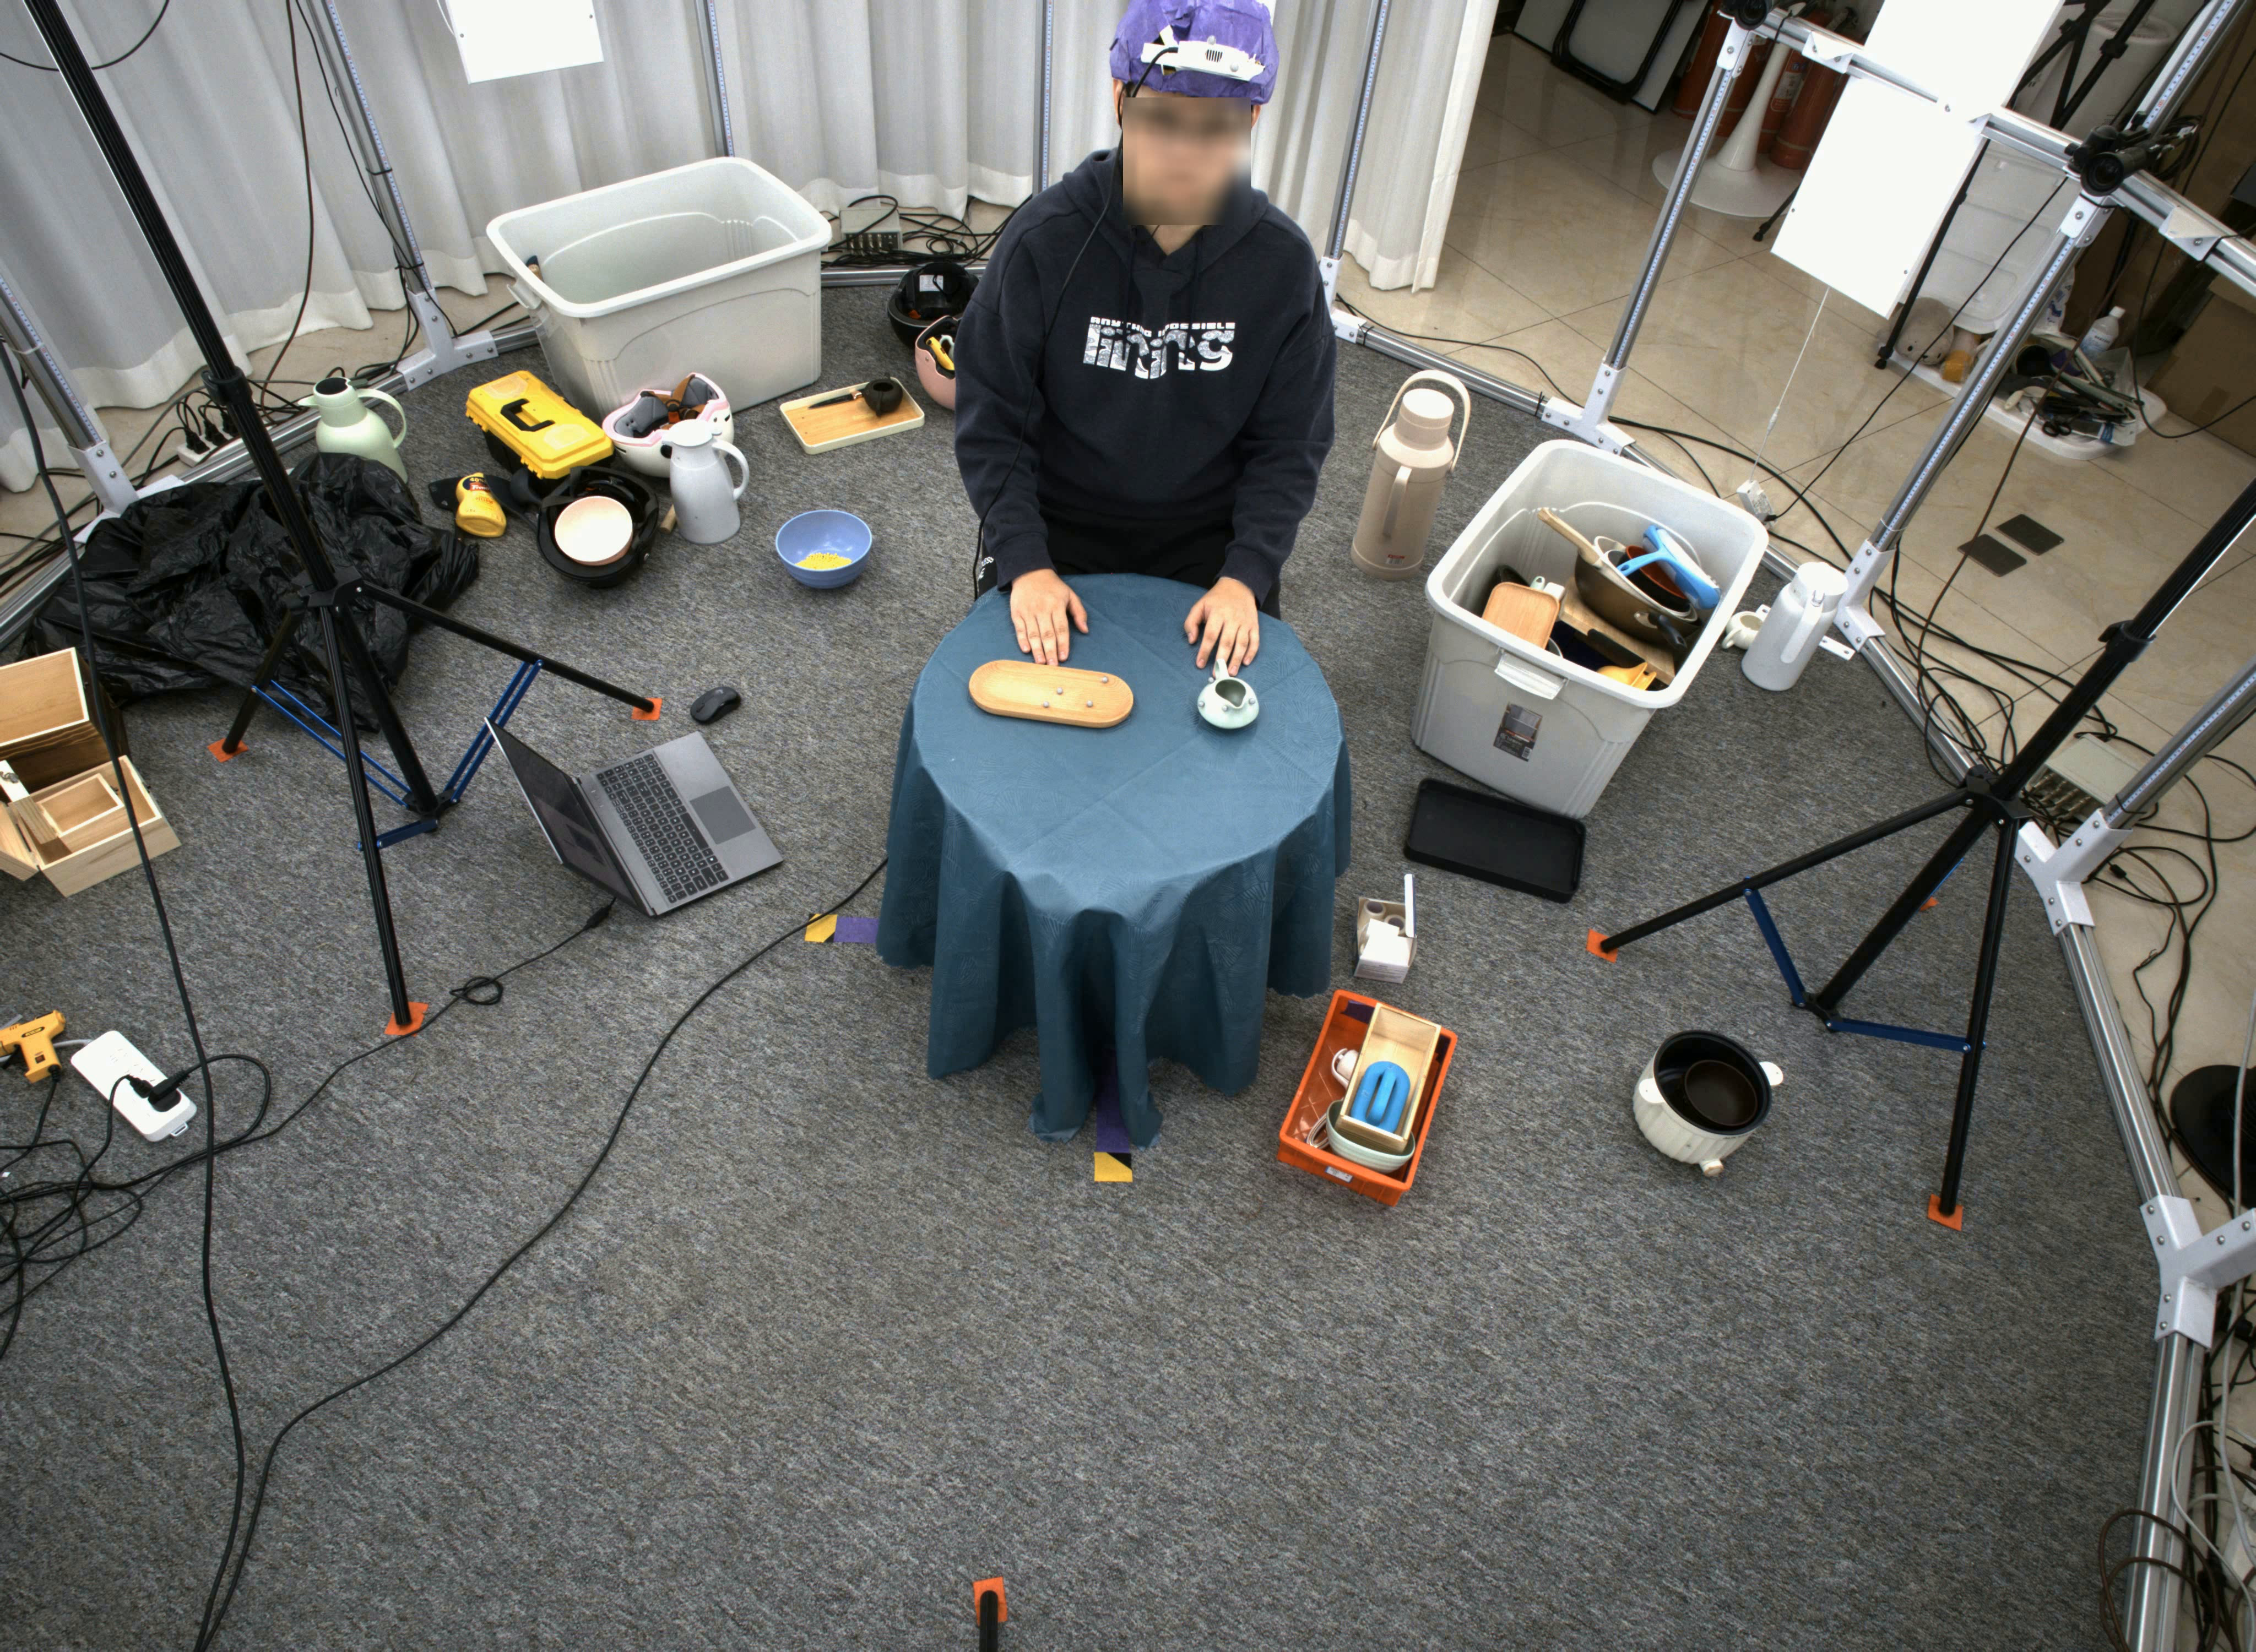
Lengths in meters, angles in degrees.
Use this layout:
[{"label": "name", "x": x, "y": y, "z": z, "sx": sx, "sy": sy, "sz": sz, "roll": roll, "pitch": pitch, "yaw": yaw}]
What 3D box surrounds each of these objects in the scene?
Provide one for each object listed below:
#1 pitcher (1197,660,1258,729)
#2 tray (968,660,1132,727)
[{"label": "pitcher", "x": 0.137, "y": -0.183, "z": 1.799, "sx": 0.086, "sy": 0.059, "sz": 0.111, "roll": -8, "pitch": 48, "yaw": -13}, {"label": "tray", "x": -0.110, "y": -0.186, "z": 1.808, "sx": 0.231, "sy": 0.020, "sz": 0.104, "roll": 6, "pitch": 48, "yaw": 3}]
